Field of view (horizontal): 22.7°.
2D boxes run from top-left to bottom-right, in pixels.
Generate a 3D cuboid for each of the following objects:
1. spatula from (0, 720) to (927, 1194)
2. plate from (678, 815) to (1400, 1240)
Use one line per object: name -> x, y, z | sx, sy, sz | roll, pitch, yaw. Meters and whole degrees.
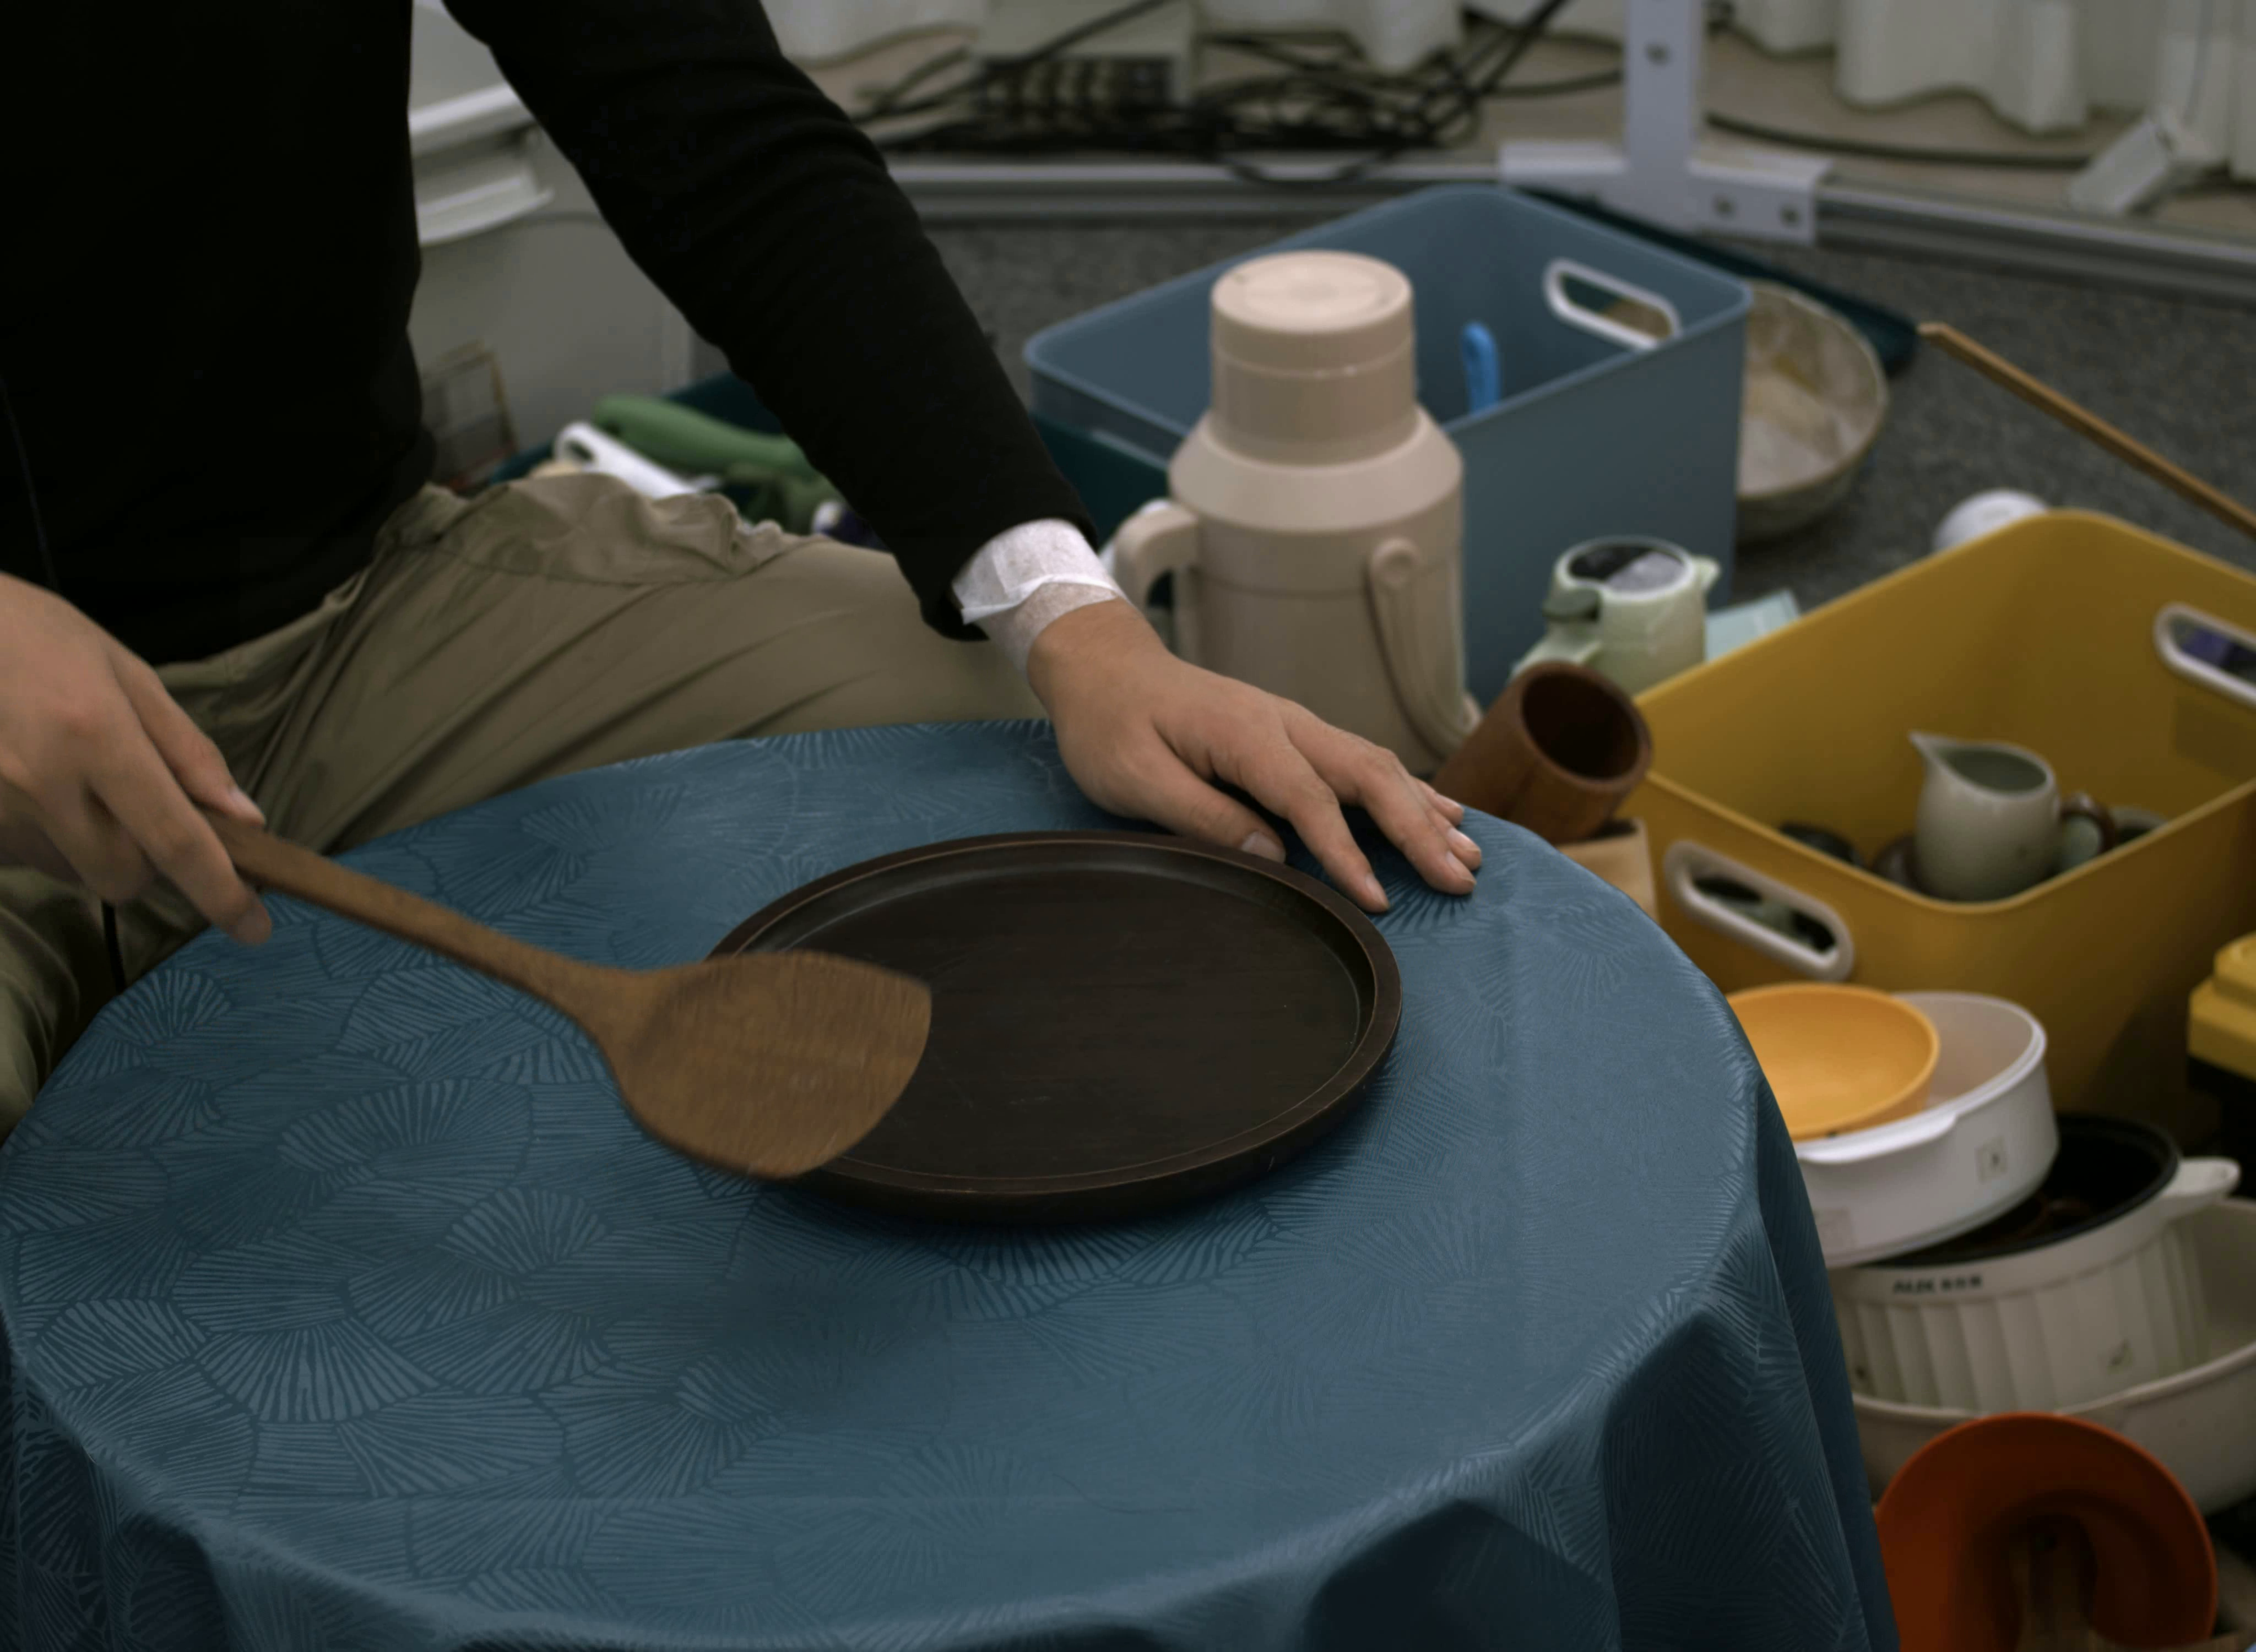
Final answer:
spatula -> -0.243, 0.031, 1.828 | 0.385, 0.015, 0.098 | 21, 49, 20
plate -> -0.031, 0.070, 1.941 | 0.253, 0.029, 0.259 | -2, 29, 2
